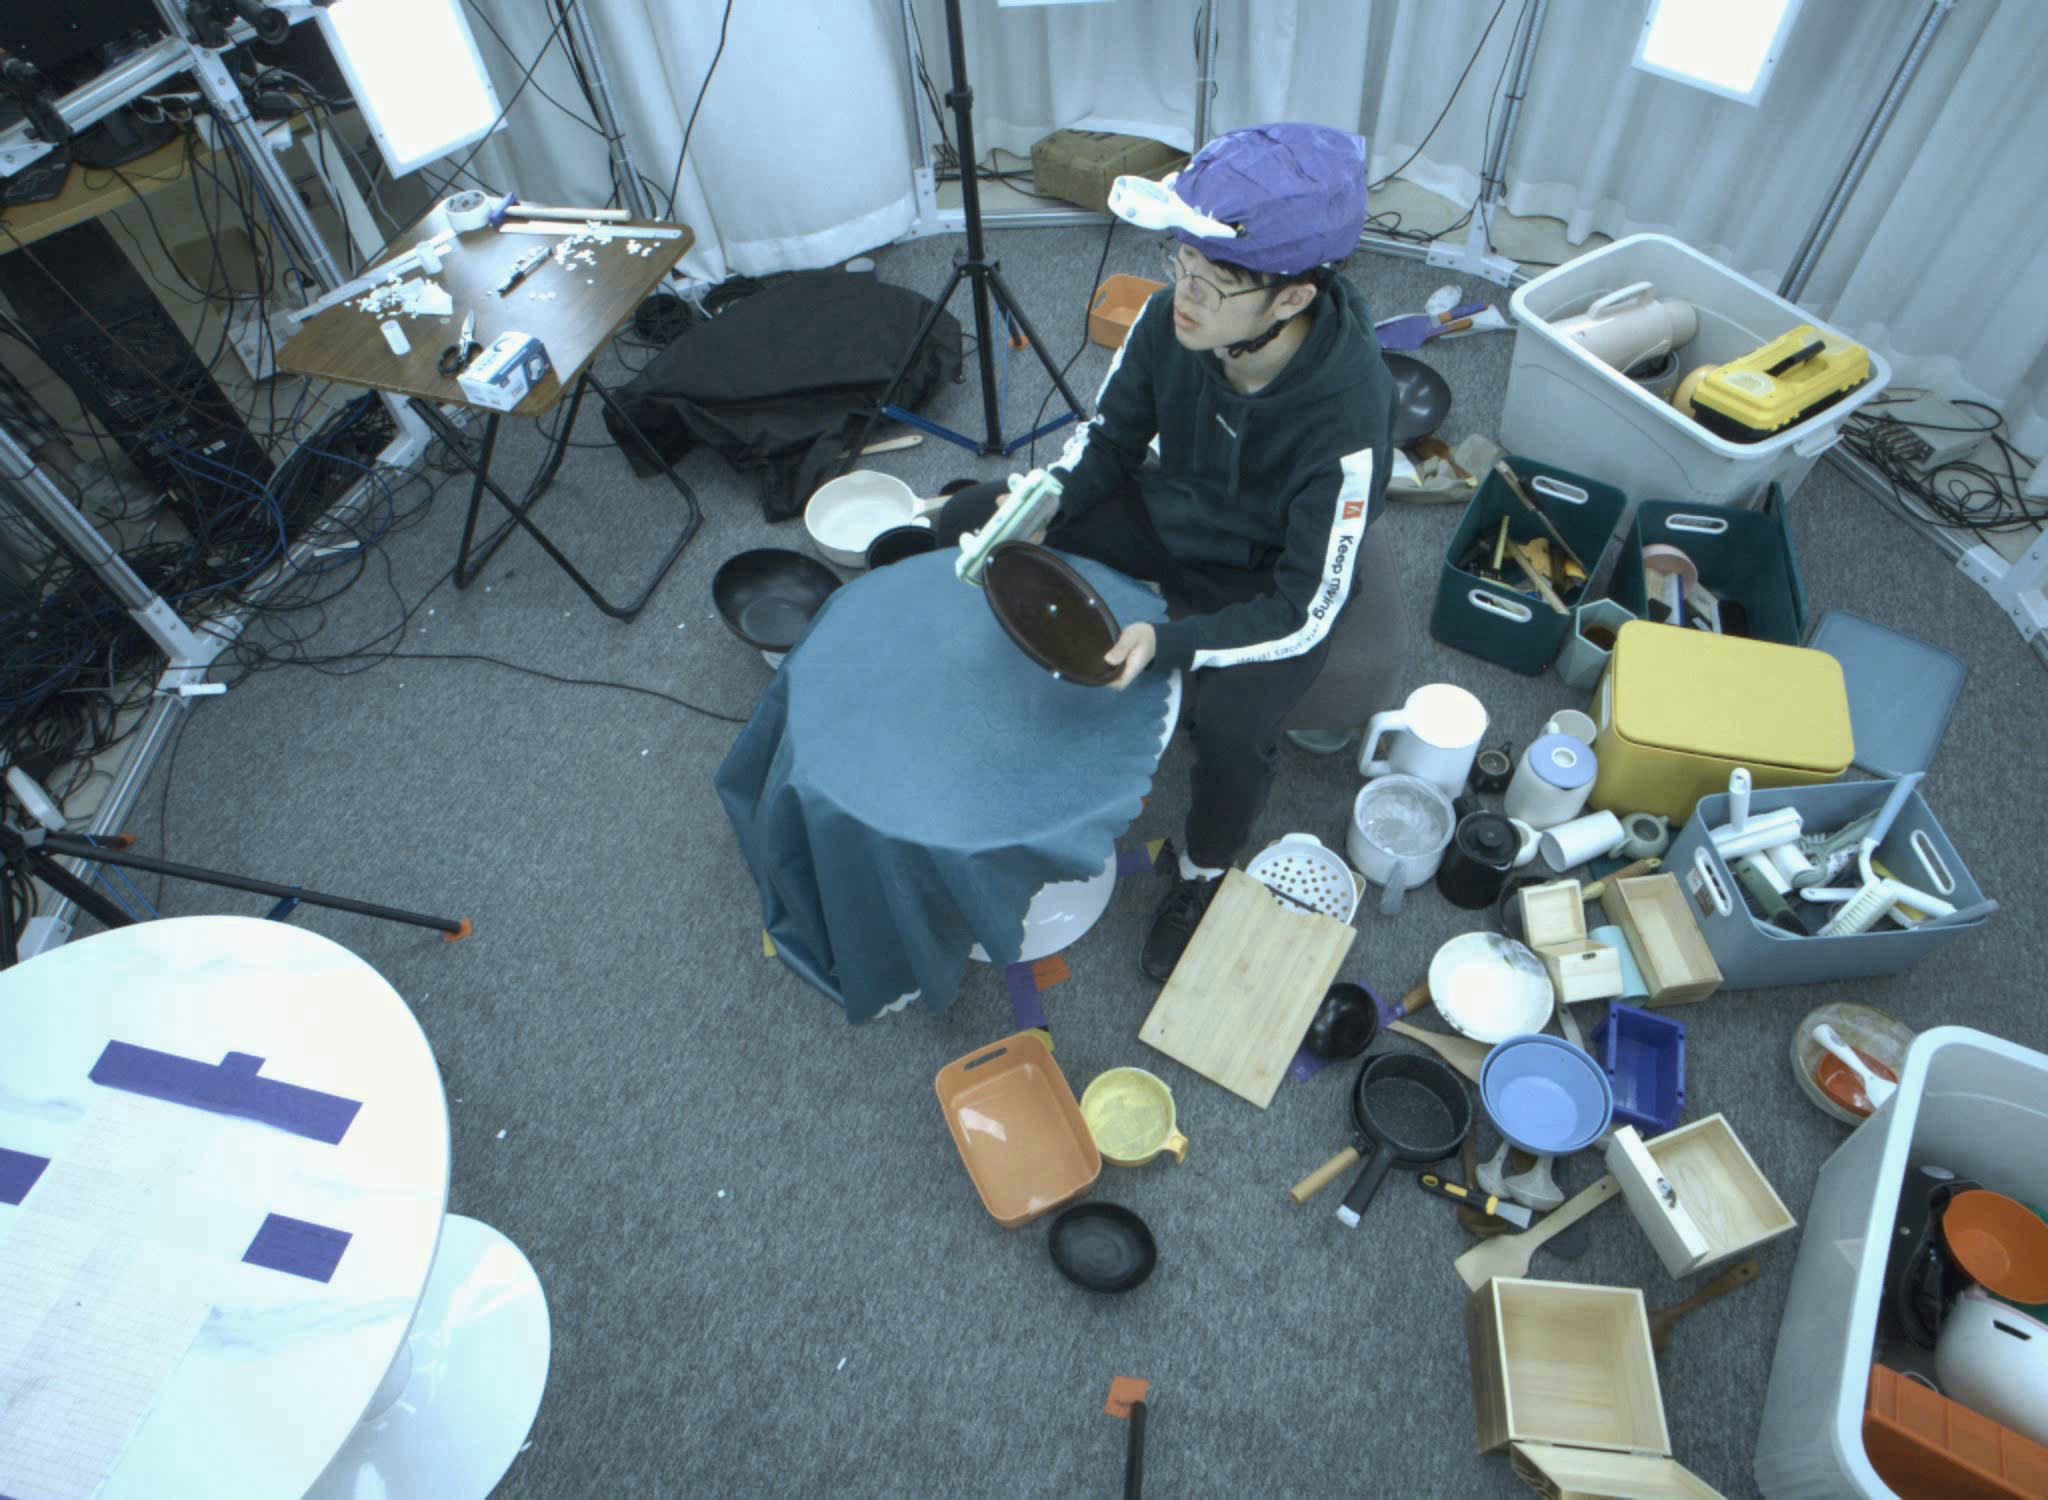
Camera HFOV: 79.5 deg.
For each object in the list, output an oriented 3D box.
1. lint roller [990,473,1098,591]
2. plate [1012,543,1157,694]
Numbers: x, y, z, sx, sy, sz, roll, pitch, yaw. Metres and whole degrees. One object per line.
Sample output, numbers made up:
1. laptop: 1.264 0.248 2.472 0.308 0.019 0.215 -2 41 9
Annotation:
1. lint roller: 0.033 -0.338 1.817 0.082 0.197 0.183 41 24 -4
2. plate: 0.084 -0.181 1.693 0.260 0.029 0.252 29 40 -25
